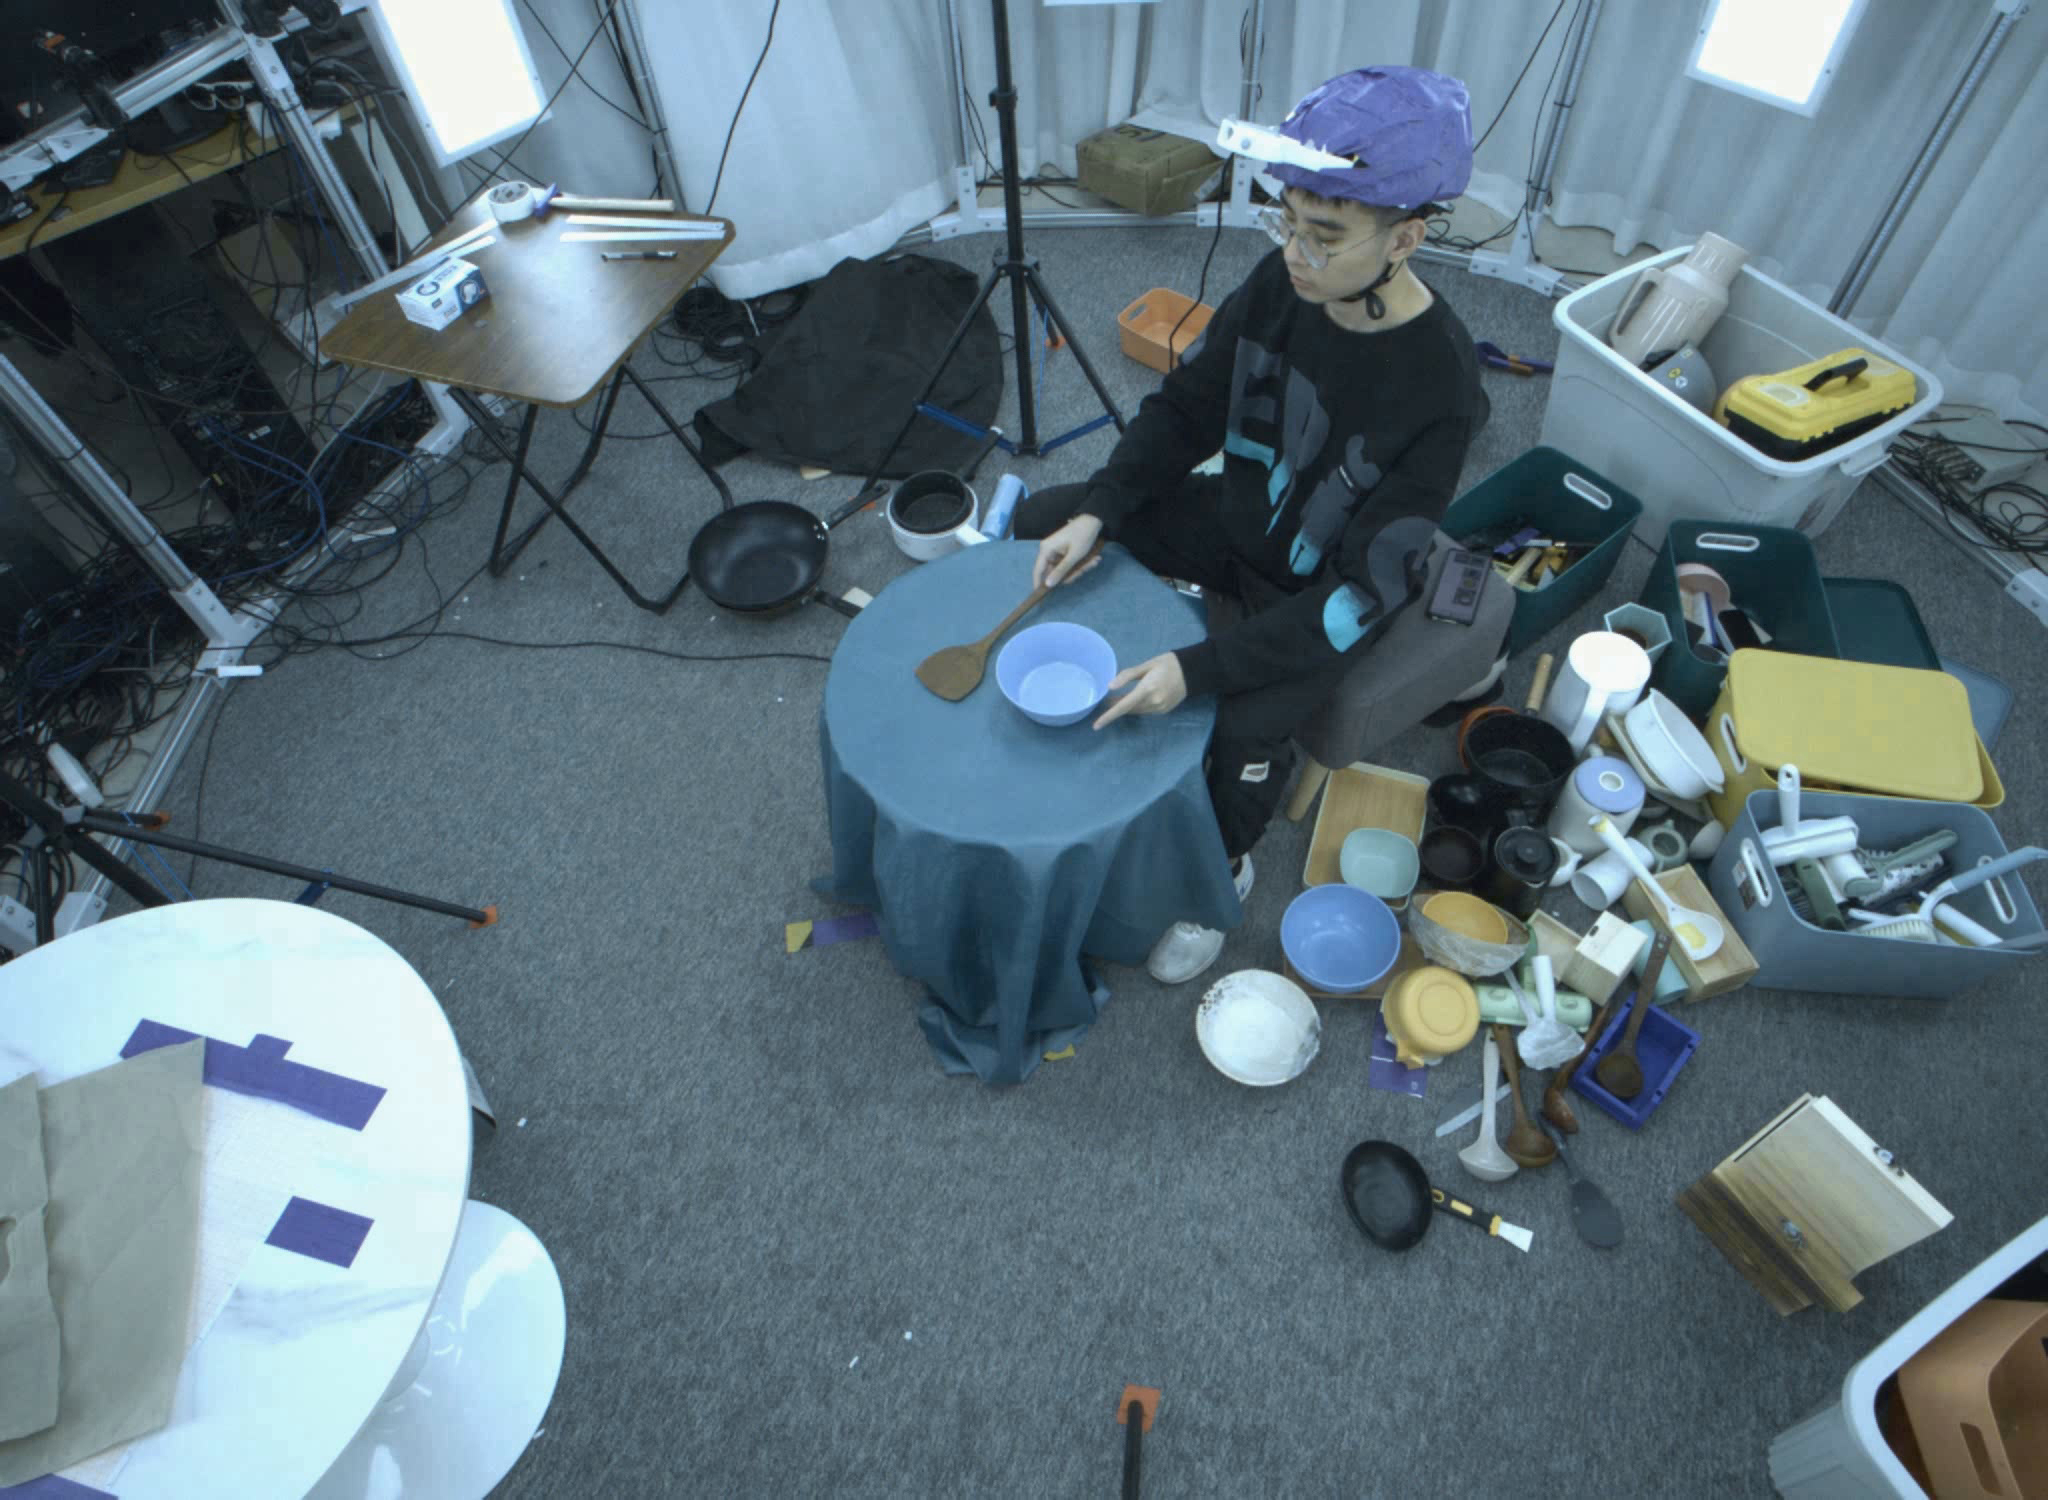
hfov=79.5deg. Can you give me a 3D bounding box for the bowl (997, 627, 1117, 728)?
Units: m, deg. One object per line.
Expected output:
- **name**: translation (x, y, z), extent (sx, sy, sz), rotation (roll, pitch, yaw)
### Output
- **bowl**: translation (0.050, -0.097, 1.822), extent (0.176, 0.071, 0.174), rotation (0, 54, 1)

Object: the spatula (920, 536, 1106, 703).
- **spatula**: translation (-0.005, -0.215, 1.919), extent (0.094, 0.016, 0.387), rotation (39, 72, 21)
